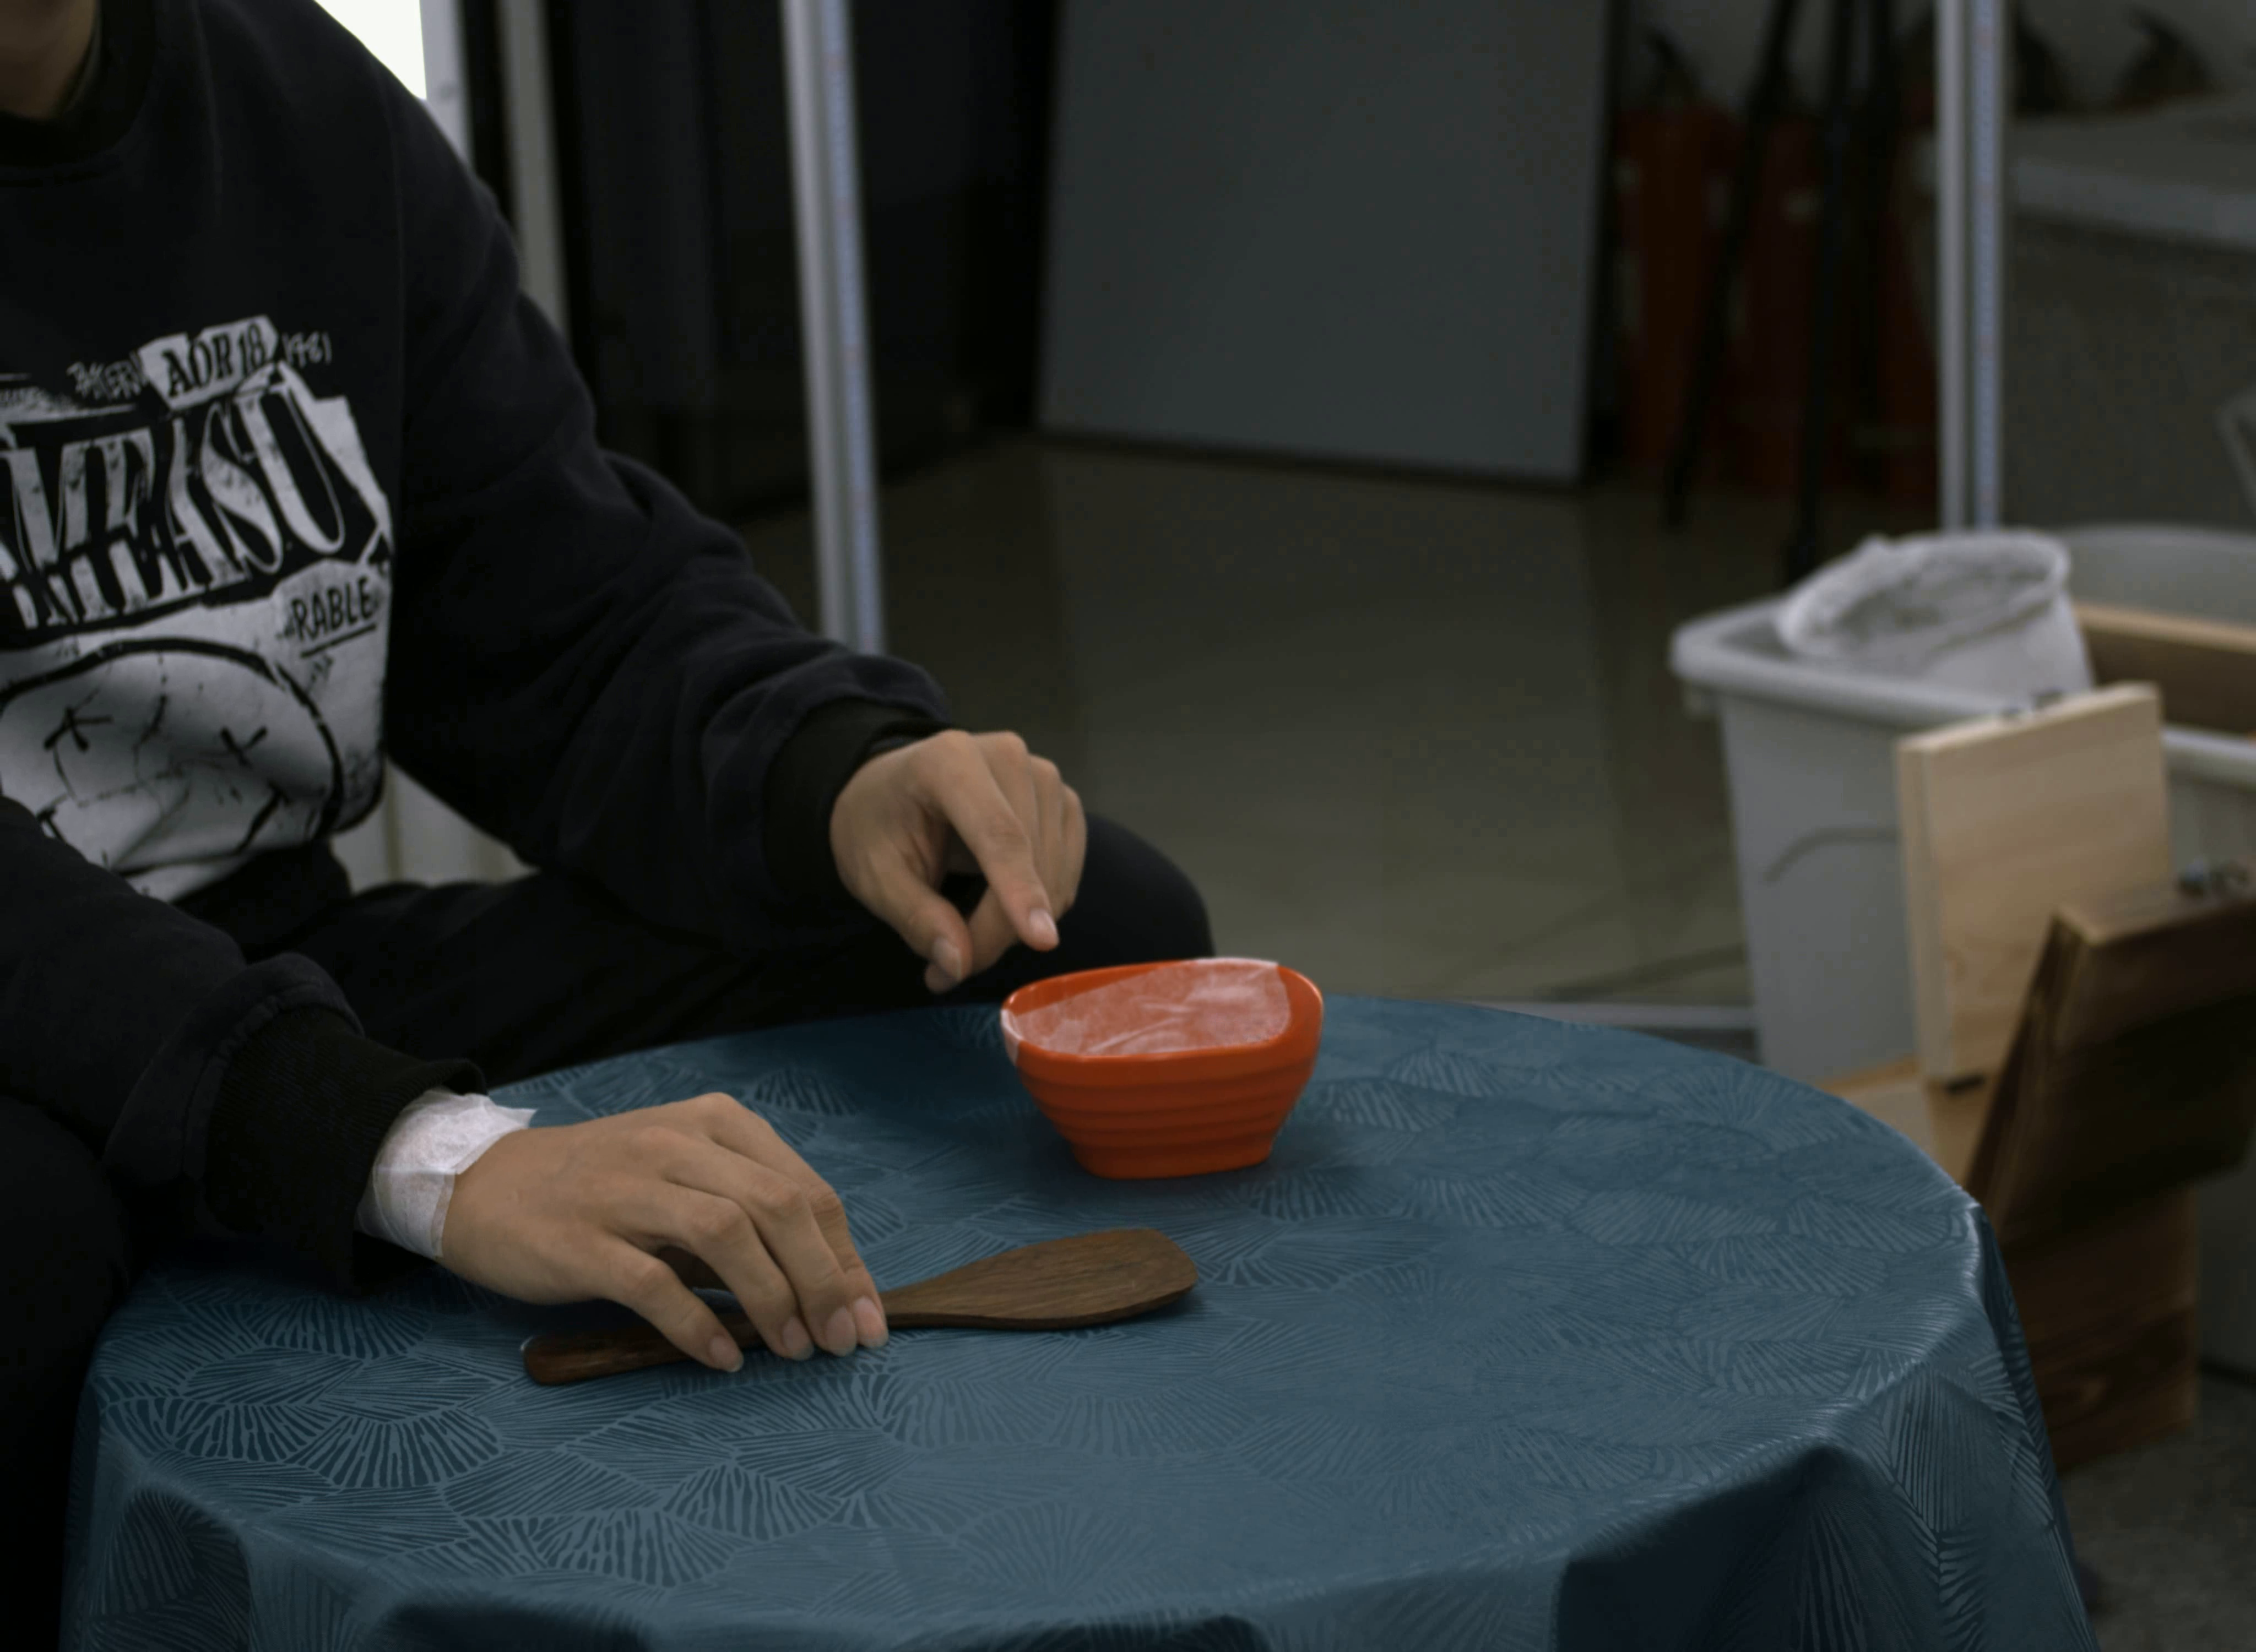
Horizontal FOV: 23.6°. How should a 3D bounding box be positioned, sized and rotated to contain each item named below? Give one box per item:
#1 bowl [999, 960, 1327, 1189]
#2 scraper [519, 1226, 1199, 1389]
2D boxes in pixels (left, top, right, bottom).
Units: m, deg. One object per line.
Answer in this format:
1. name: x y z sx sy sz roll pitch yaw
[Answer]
1. bowl: 0.013 0.086 1.809 0.117 0.052 0.119 -4 16 0
2. scraper: -0.083 0.151 1.658 0.207 0.011 0.076 -8 13 -13
